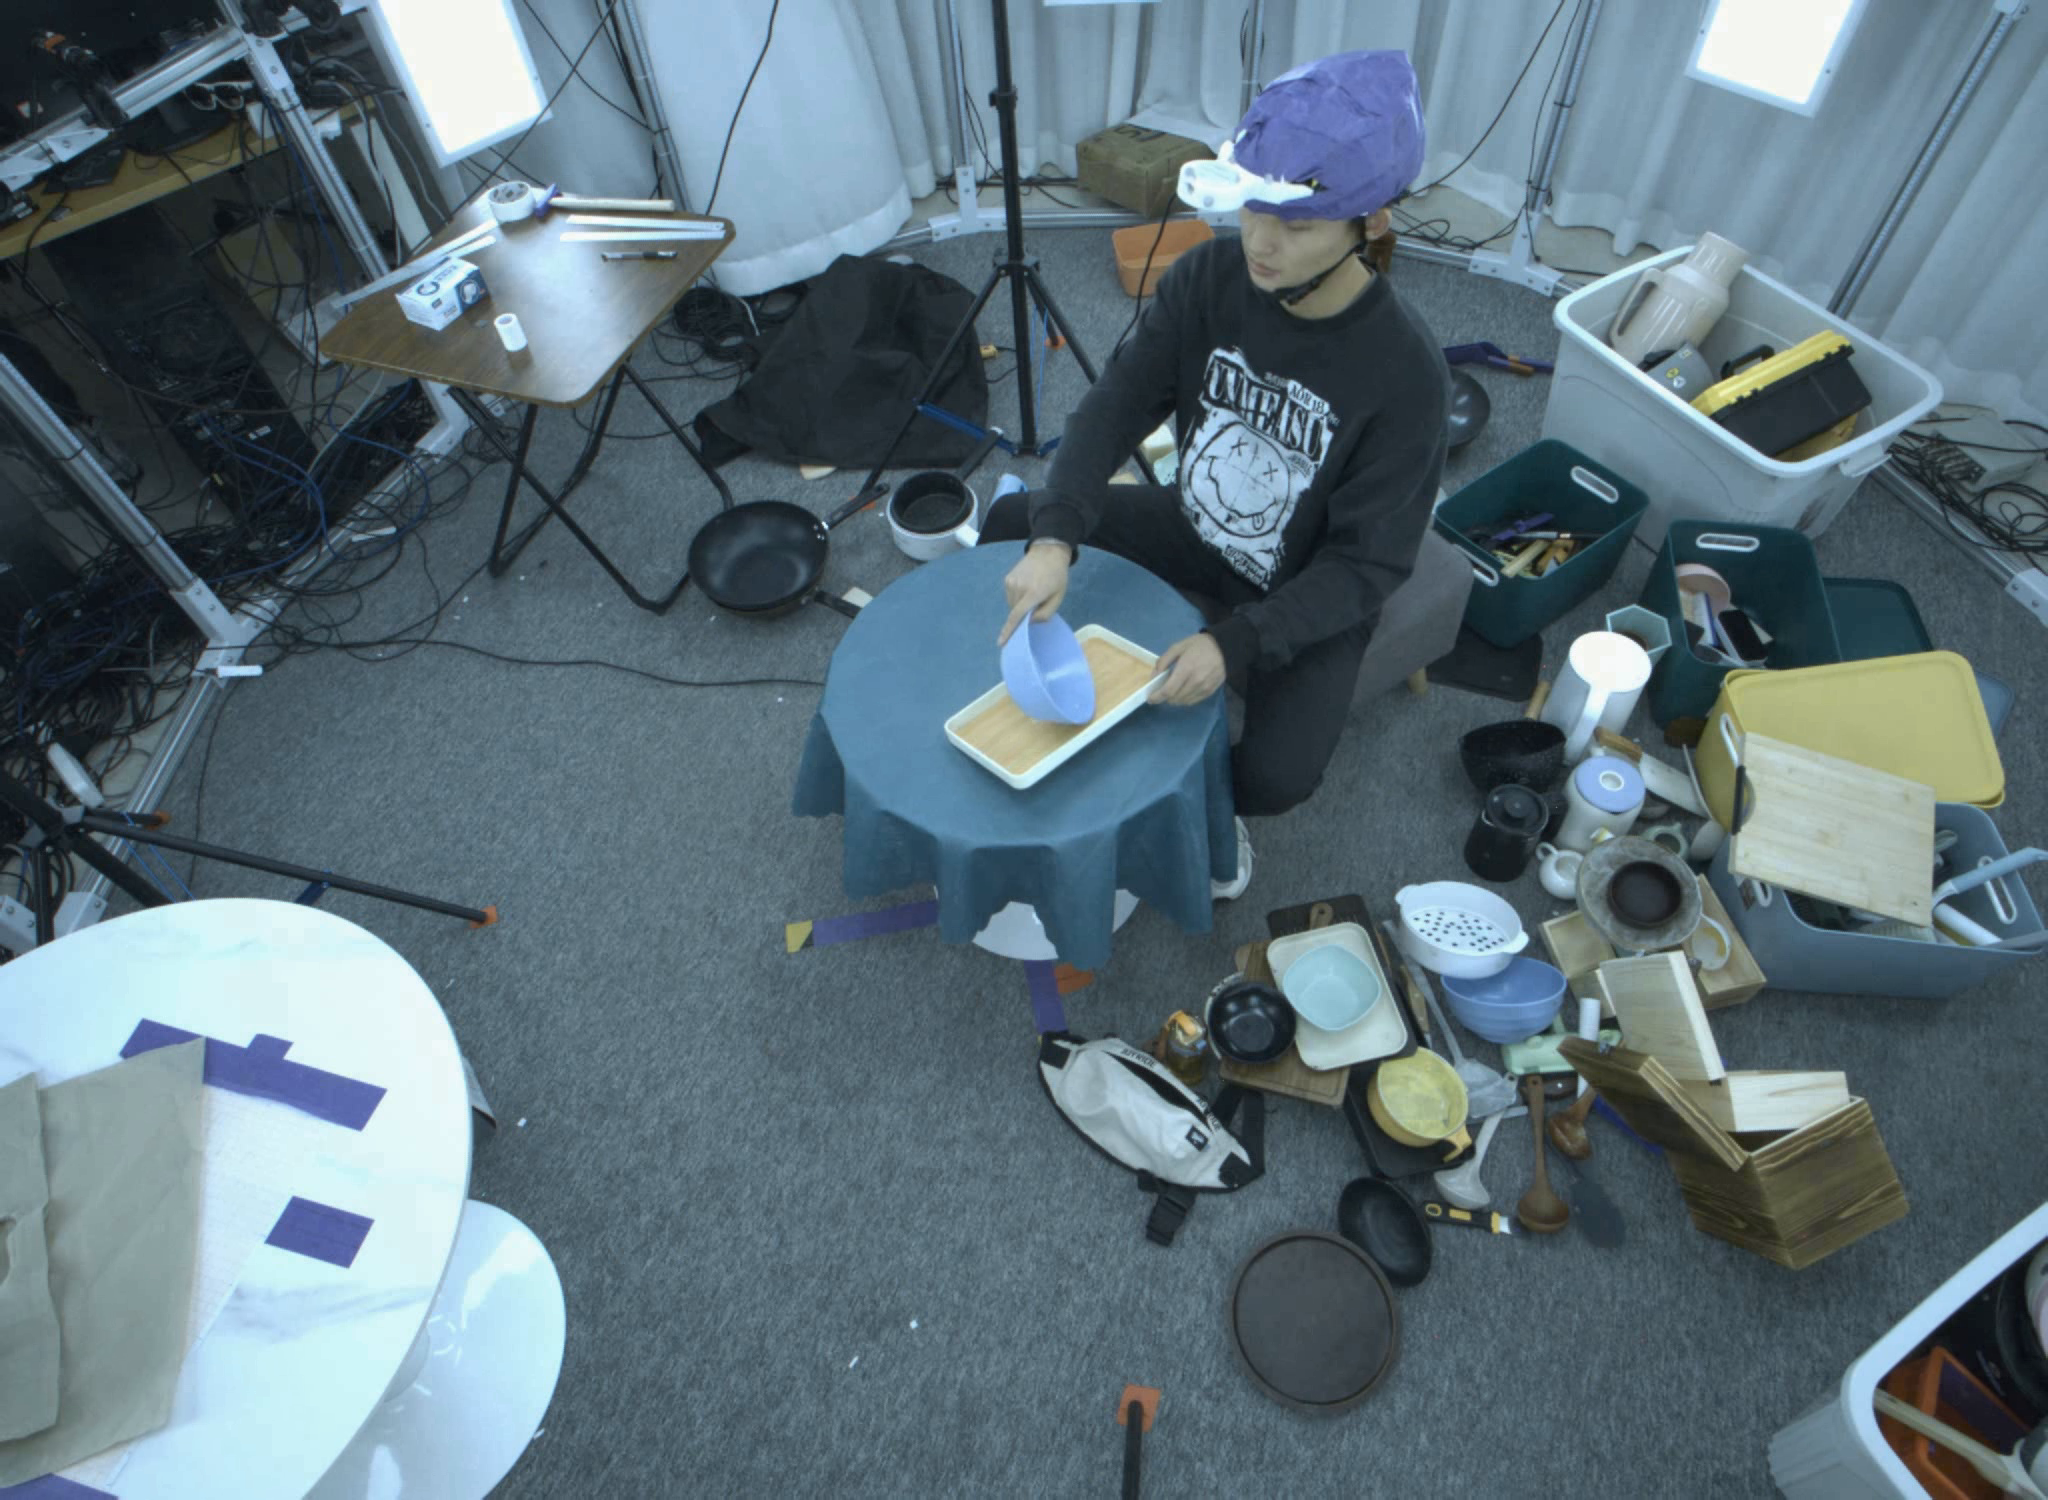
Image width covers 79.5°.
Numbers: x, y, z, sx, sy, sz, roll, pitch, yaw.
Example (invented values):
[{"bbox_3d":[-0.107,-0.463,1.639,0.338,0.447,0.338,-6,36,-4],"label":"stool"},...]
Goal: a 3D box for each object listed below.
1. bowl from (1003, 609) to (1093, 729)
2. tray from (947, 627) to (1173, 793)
[{"bbox_3d":[0.027,-0.104,1.727,0.069,0.180,0.174,-19,51,26],"label":"bowl"},{"bbox_3d":[0.053,-0.065,1.796,0.302,0.028,0.187,-36,45,-21],"label":"tray"}]
